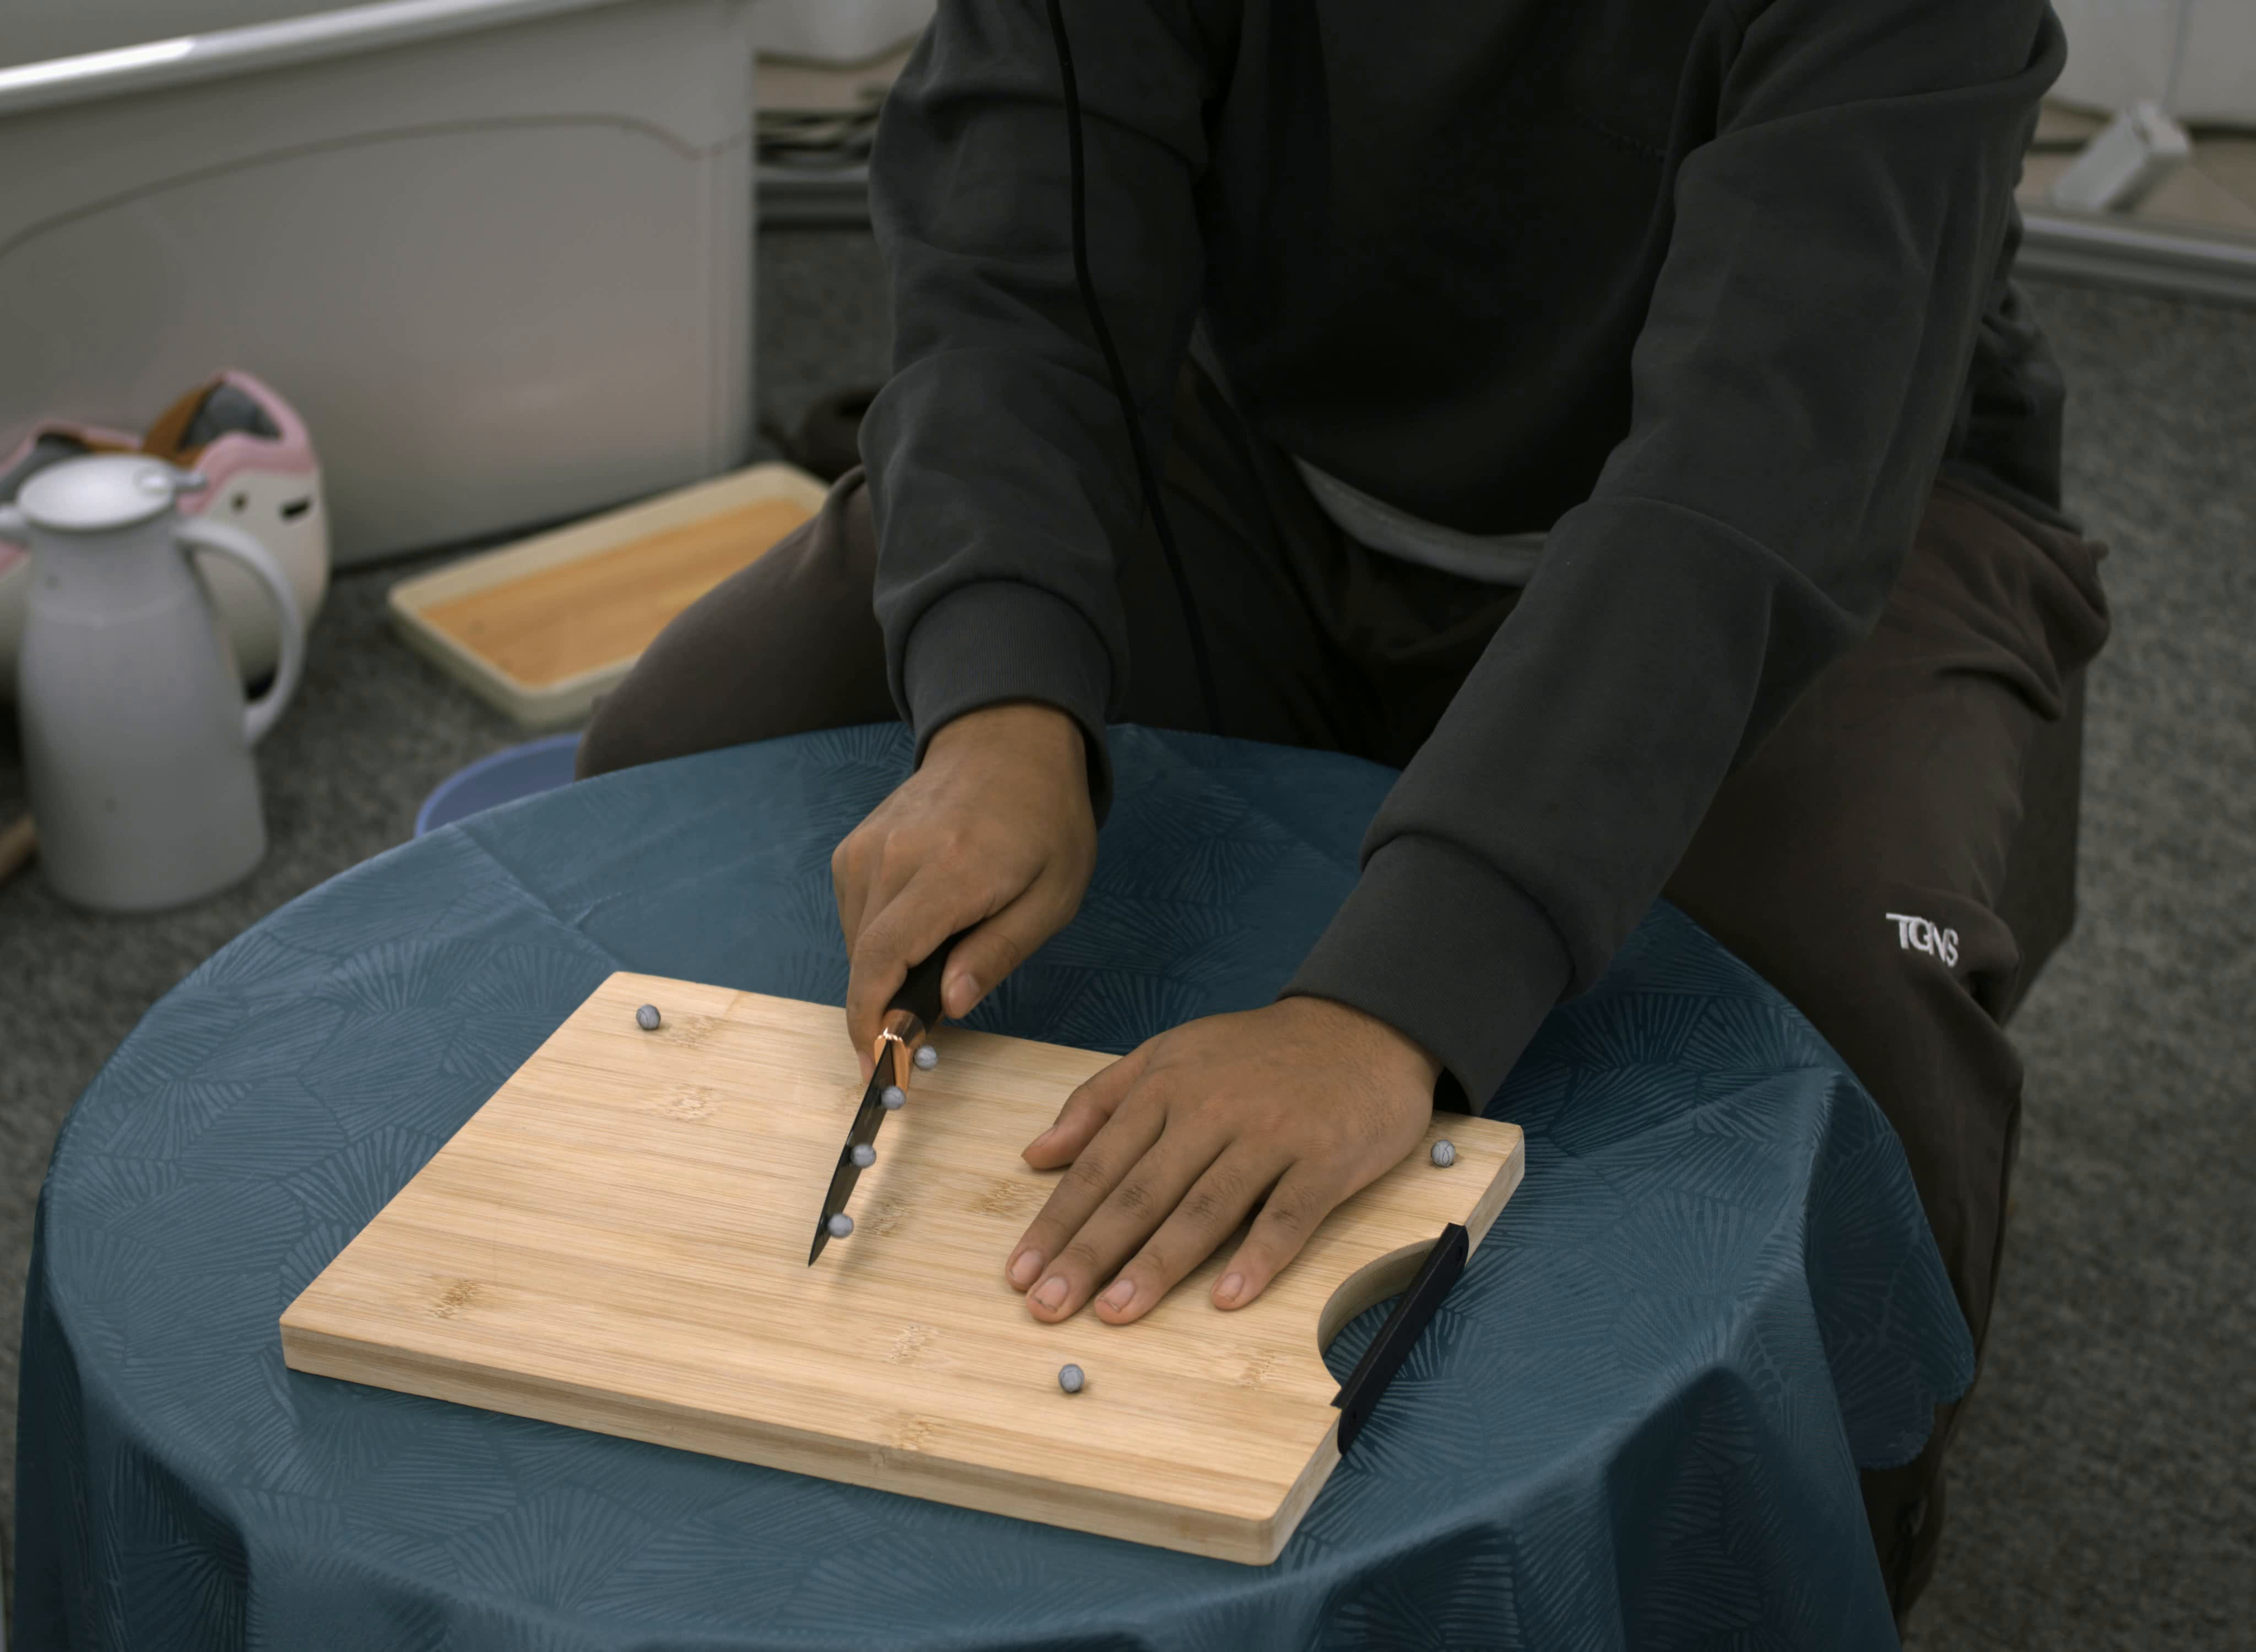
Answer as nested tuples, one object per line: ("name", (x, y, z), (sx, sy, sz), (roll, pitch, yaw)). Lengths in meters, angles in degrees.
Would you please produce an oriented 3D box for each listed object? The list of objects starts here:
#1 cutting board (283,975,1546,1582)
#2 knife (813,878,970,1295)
("cutting board", (-0.065, 0.138, 1.821), (0.346, 0.023, 0.255), (8, 30, 20))
("knife", (-0.080, 0.083, 1.869), (0.017, 0.026, 0.229), (4, 32, 9))
